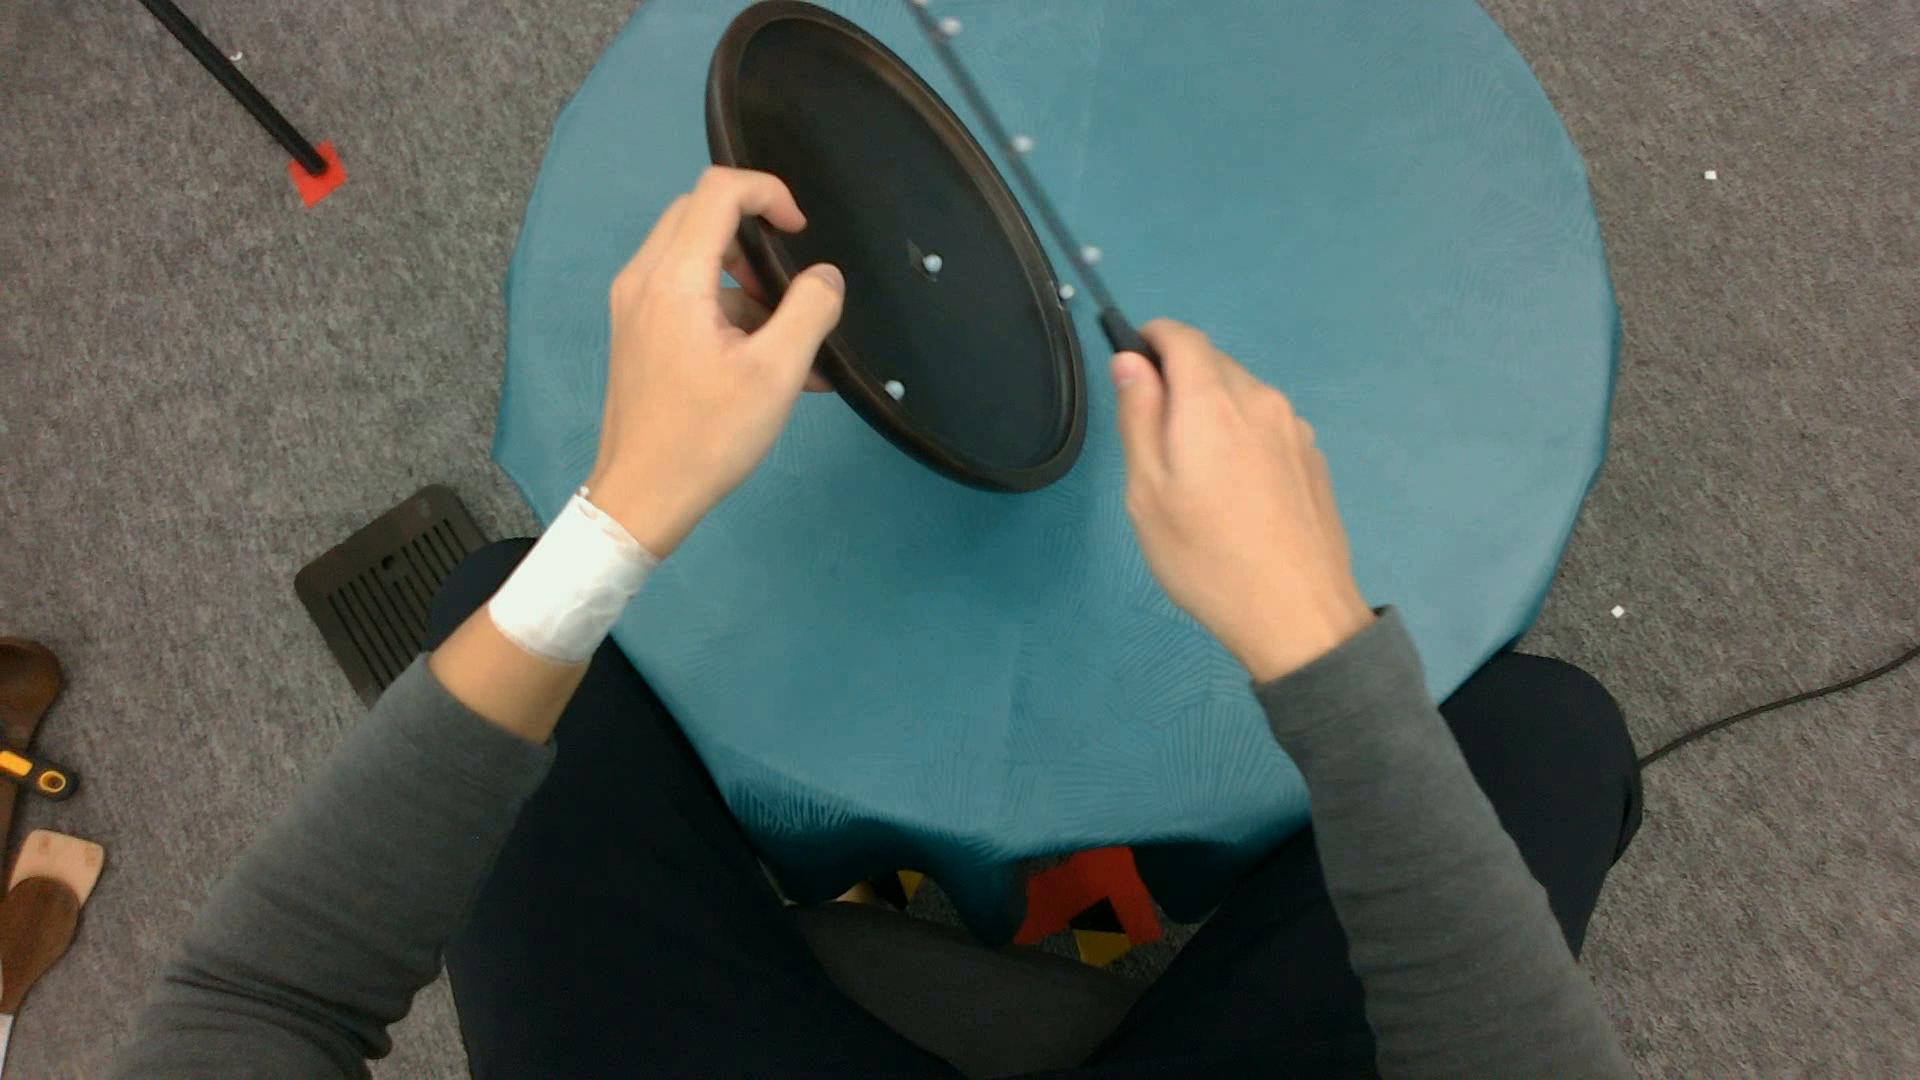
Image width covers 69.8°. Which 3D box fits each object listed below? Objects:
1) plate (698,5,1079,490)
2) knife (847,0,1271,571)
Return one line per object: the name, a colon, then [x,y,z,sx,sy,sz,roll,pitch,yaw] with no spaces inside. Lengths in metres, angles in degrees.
plate: [-0.026,-0.136,0.647,0.029,0.255,0.255,-28,74,28]
knife: [0.036,-0.115,0.571,0.021,0.081,0.302,-36,81,16]
